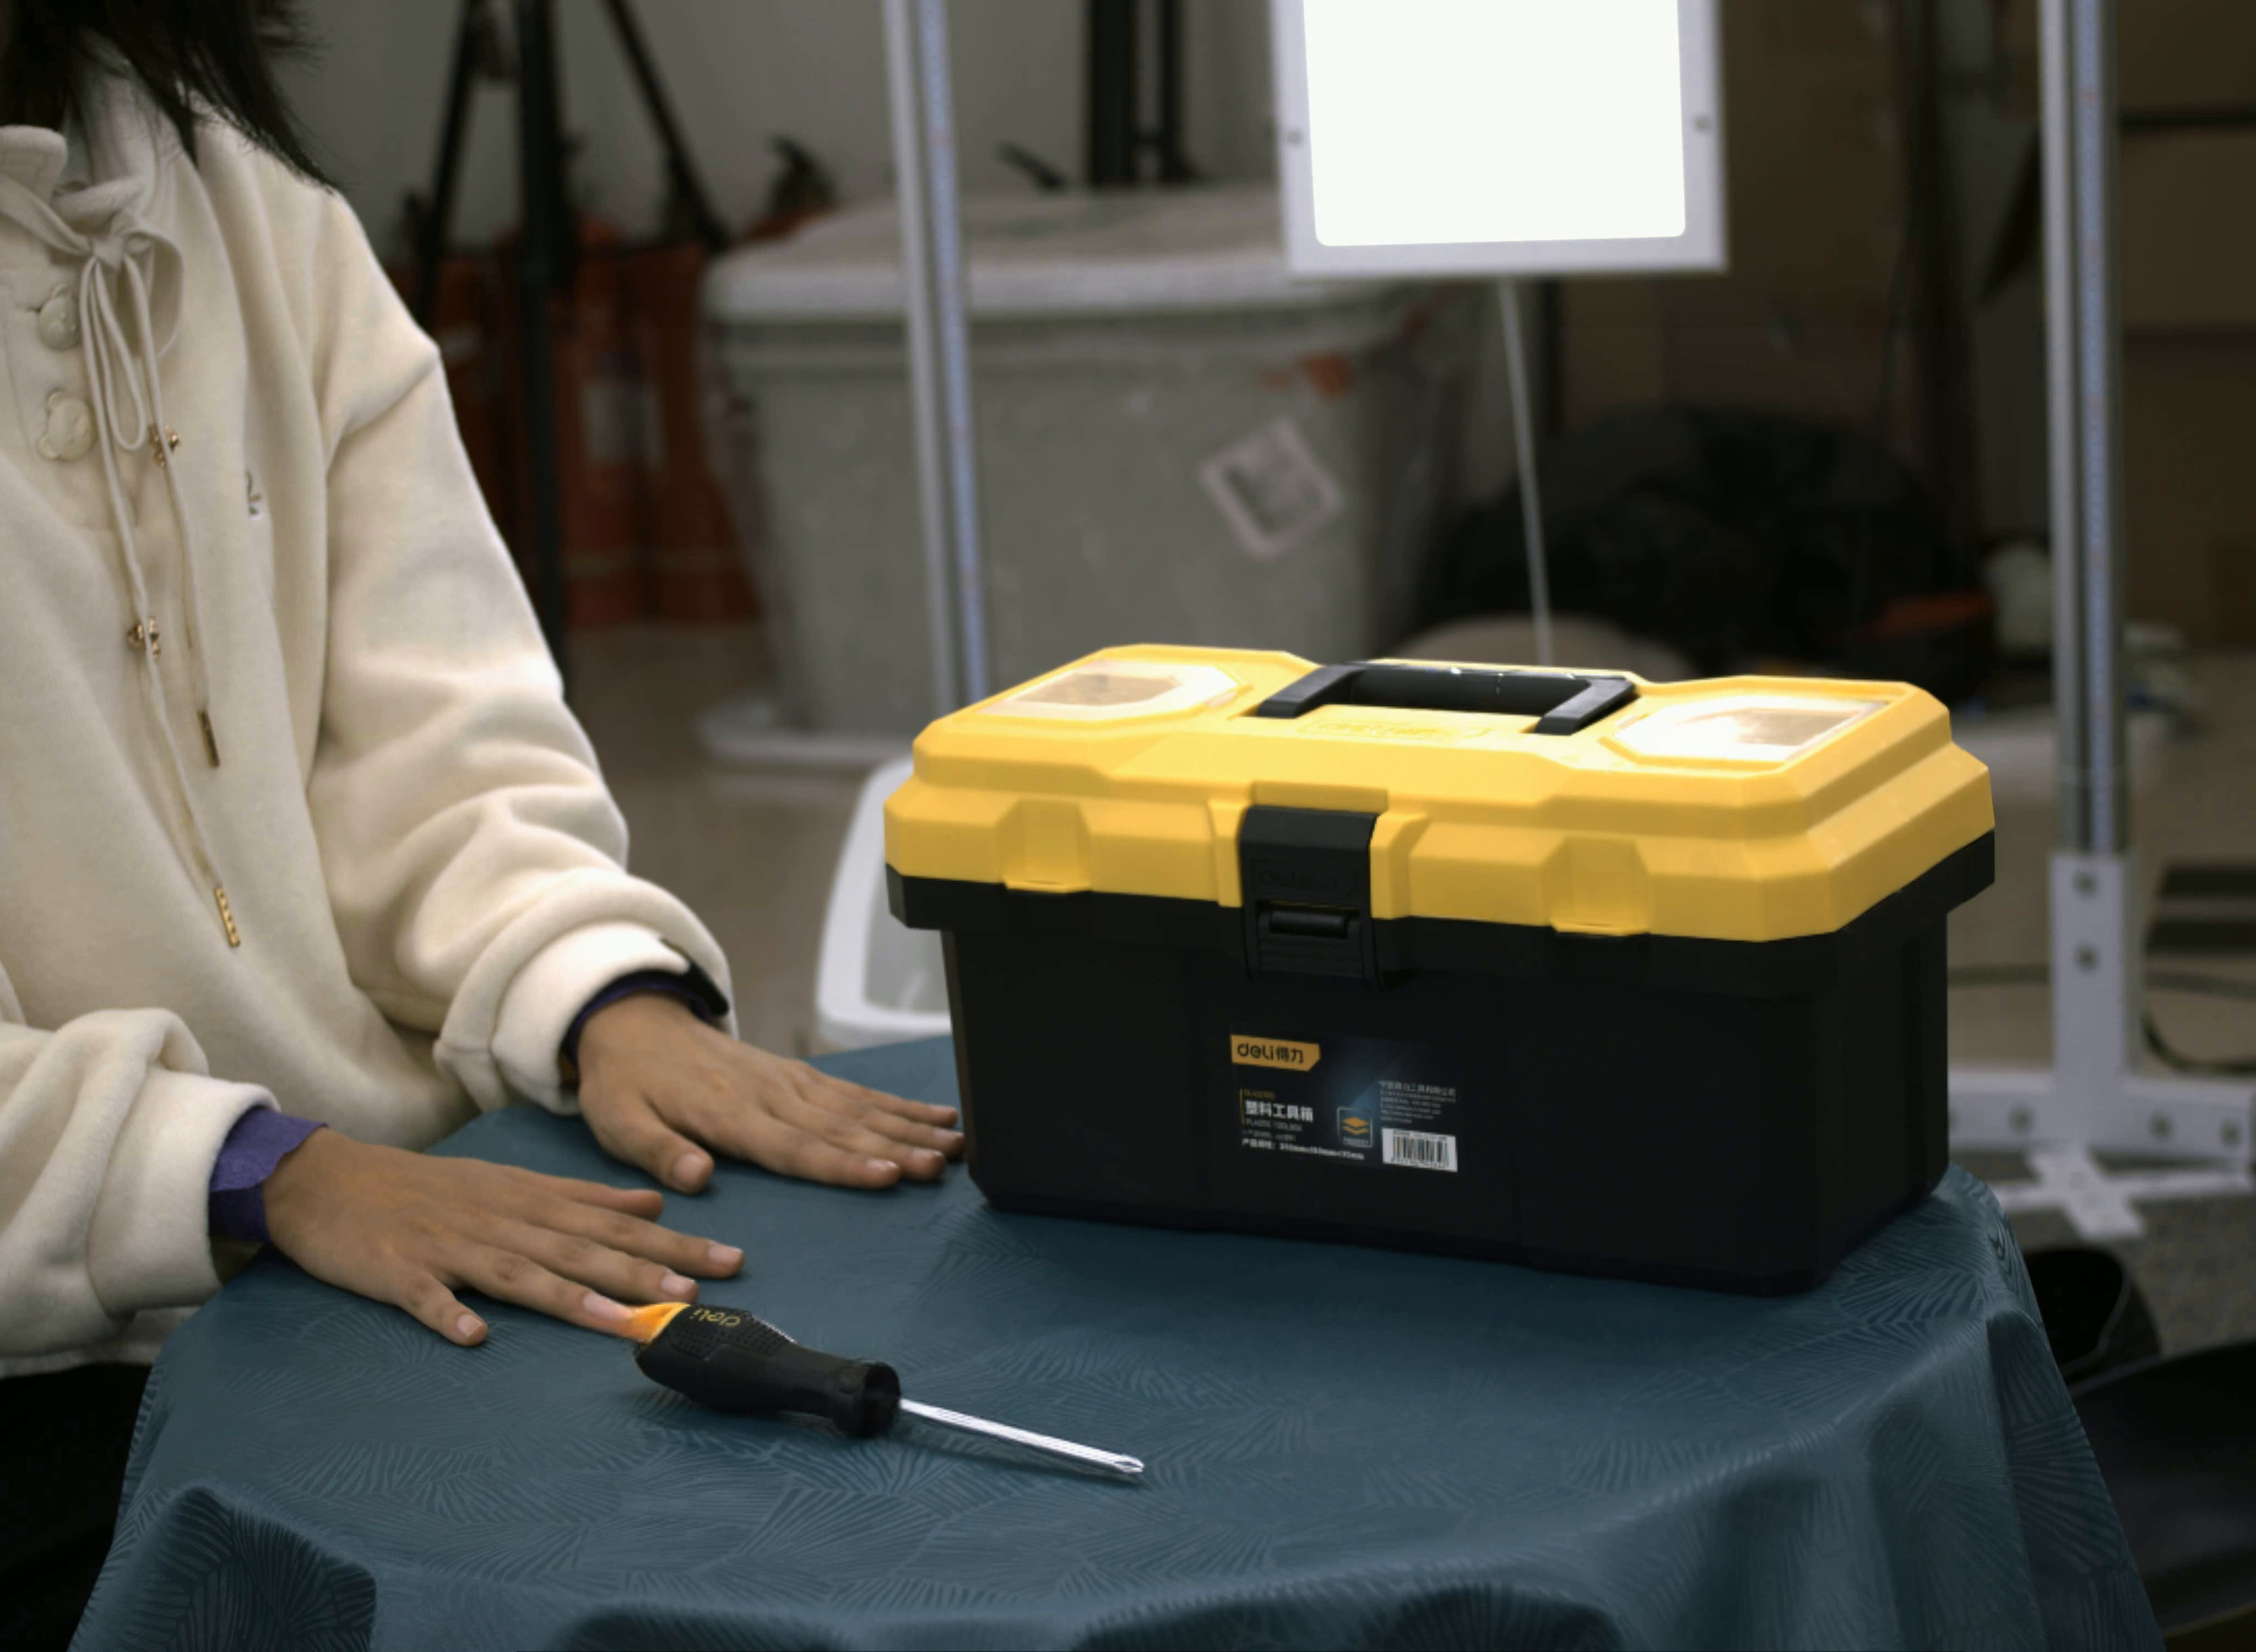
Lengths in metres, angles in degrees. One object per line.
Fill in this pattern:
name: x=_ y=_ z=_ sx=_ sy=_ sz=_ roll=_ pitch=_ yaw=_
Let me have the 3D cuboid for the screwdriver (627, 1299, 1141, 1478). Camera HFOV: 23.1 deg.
screwdriver: x=-0.076 y=0.172 z=1.676 sx=0.200 sy=0.031 sz=0.030 roll=8 pitch=18 yaw=39

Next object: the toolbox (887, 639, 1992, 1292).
toolbox: x=0.103 y=0.042 z=1.840 sx=0.358 sy=0.173 sz=0.177 roll=4 pitch=16 yaw=33
